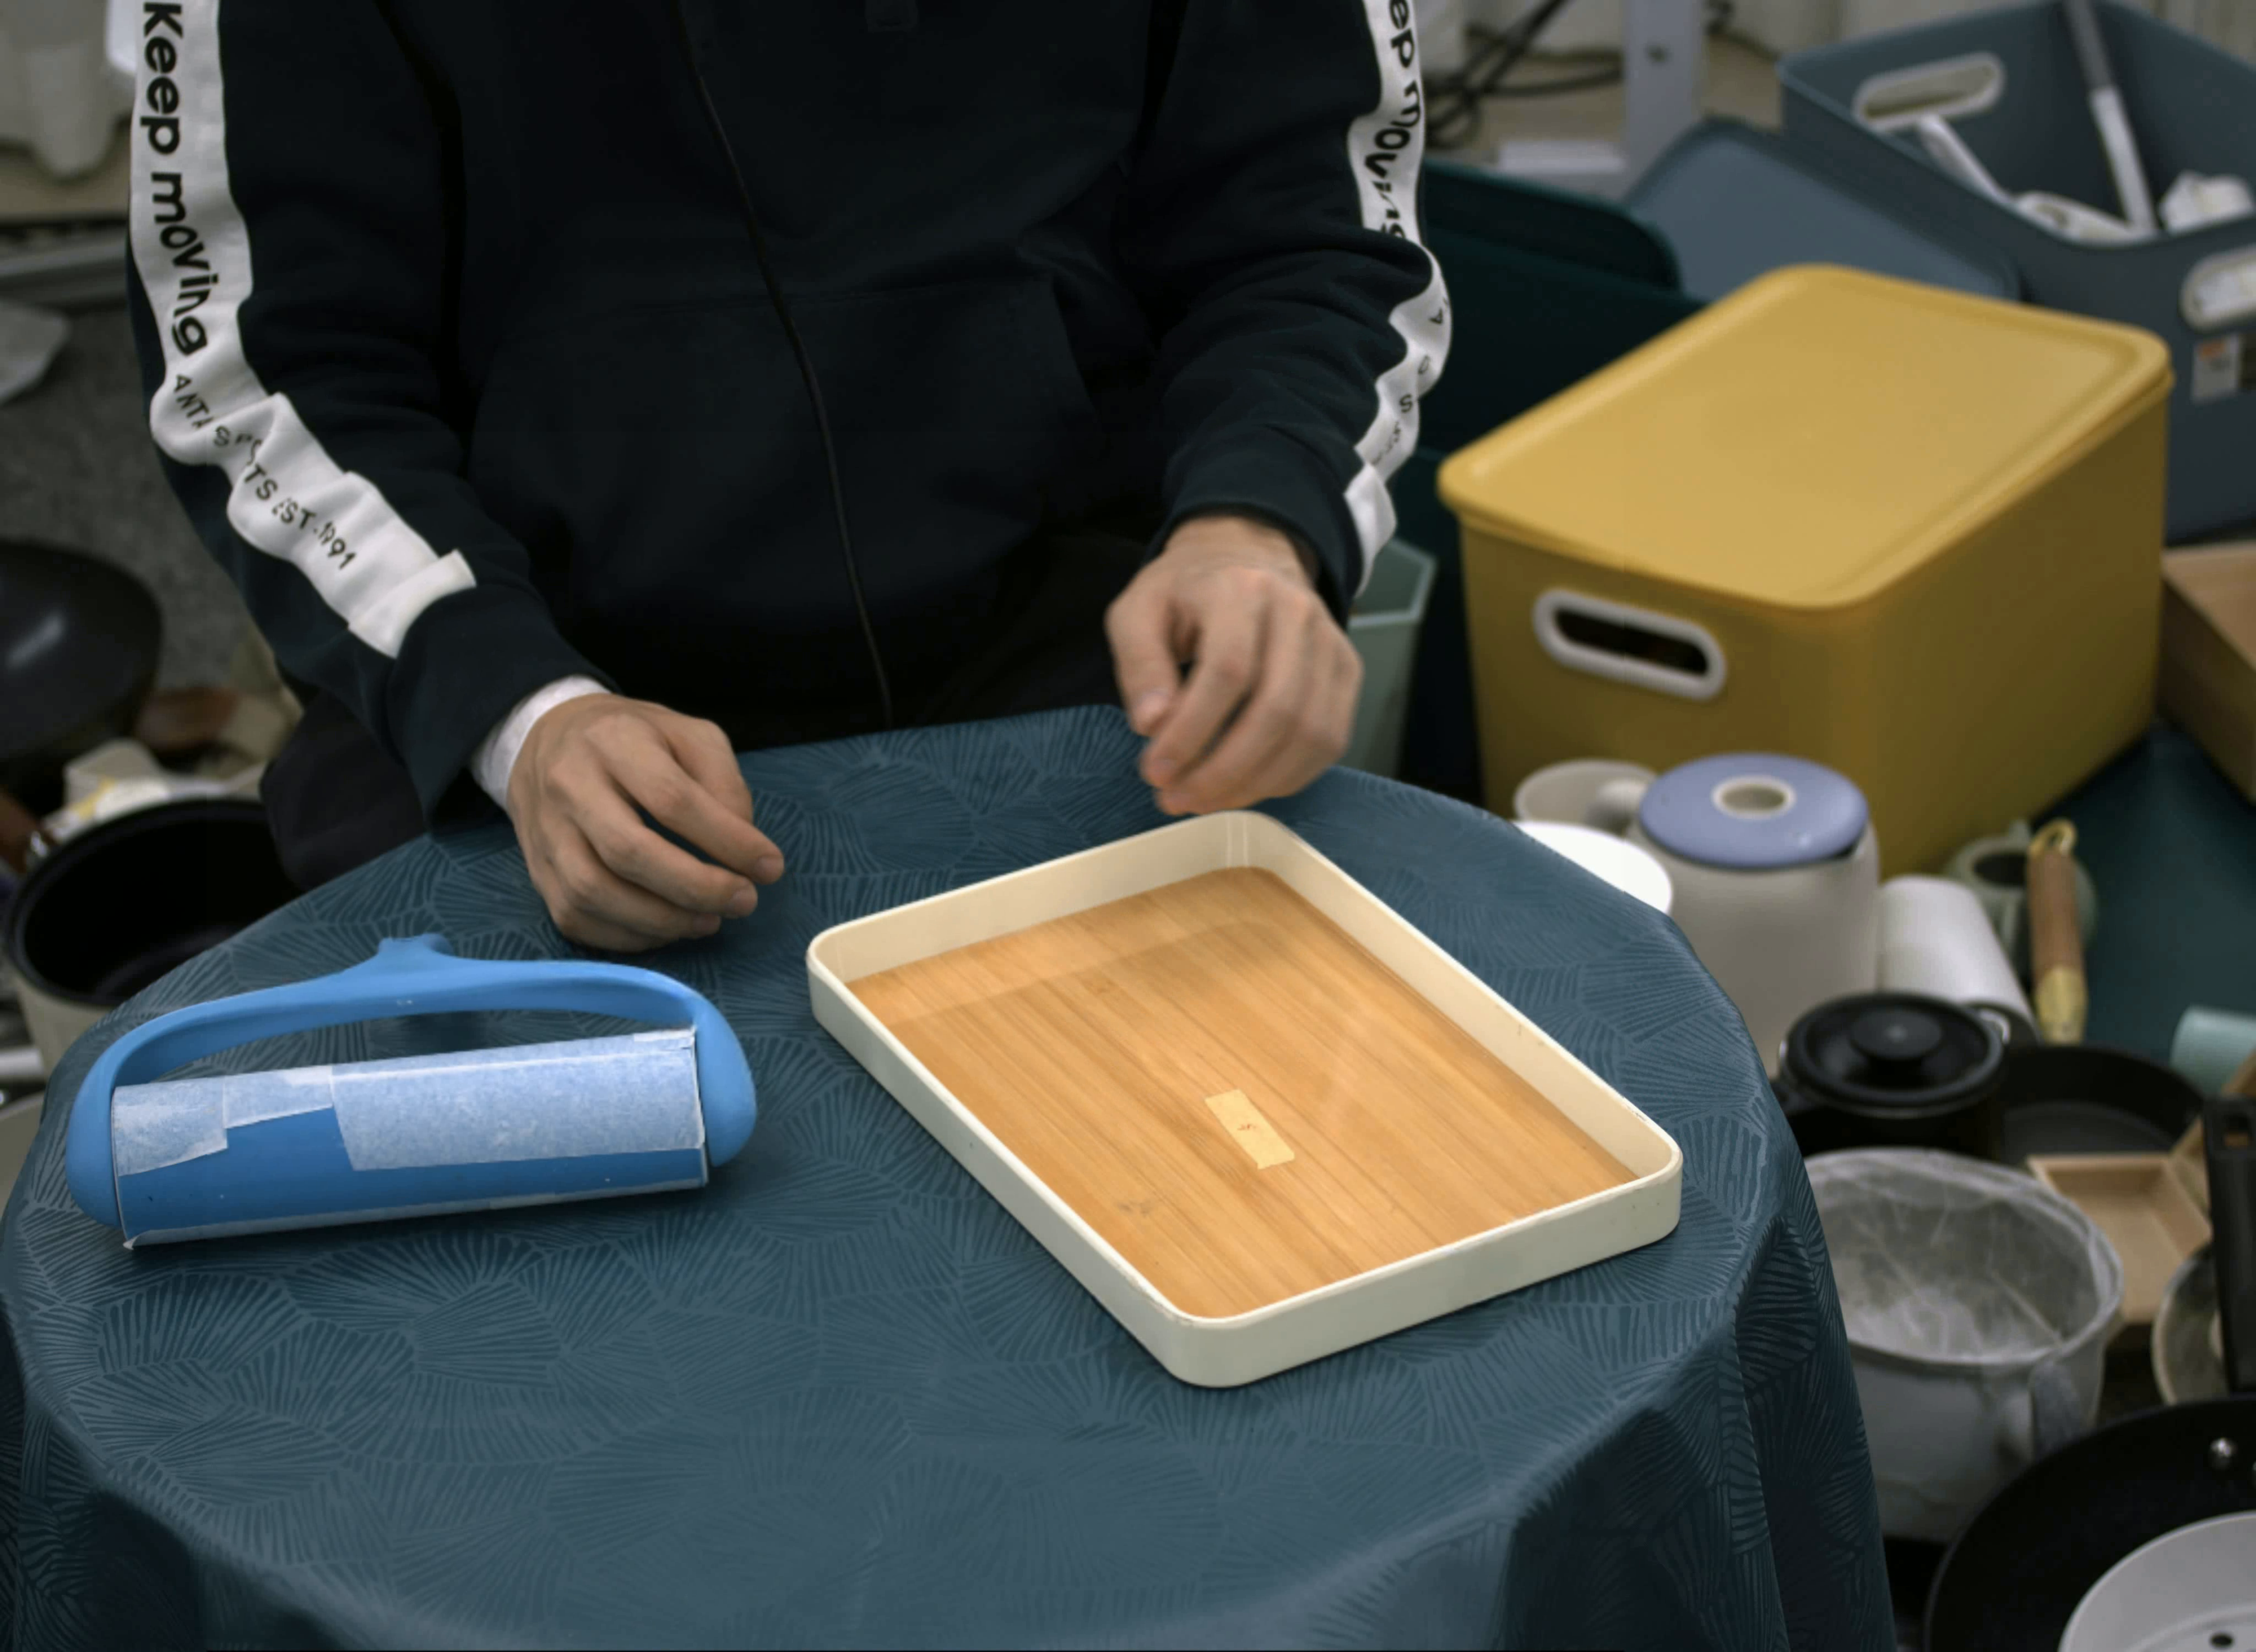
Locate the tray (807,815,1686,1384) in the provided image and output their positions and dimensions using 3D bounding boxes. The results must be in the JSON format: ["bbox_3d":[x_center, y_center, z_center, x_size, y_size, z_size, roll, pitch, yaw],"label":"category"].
[{"bbox_3d":[0.034,0.086,1.896,0.192,0.027,0.302,-16,30,-23],"label":"tray"}]

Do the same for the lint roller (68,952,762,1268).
[{"bbox_3d":[-0.246,0.078,1.909,0.228,0.067,0.182,-9,29,-8],"label":"lint roller"}]
